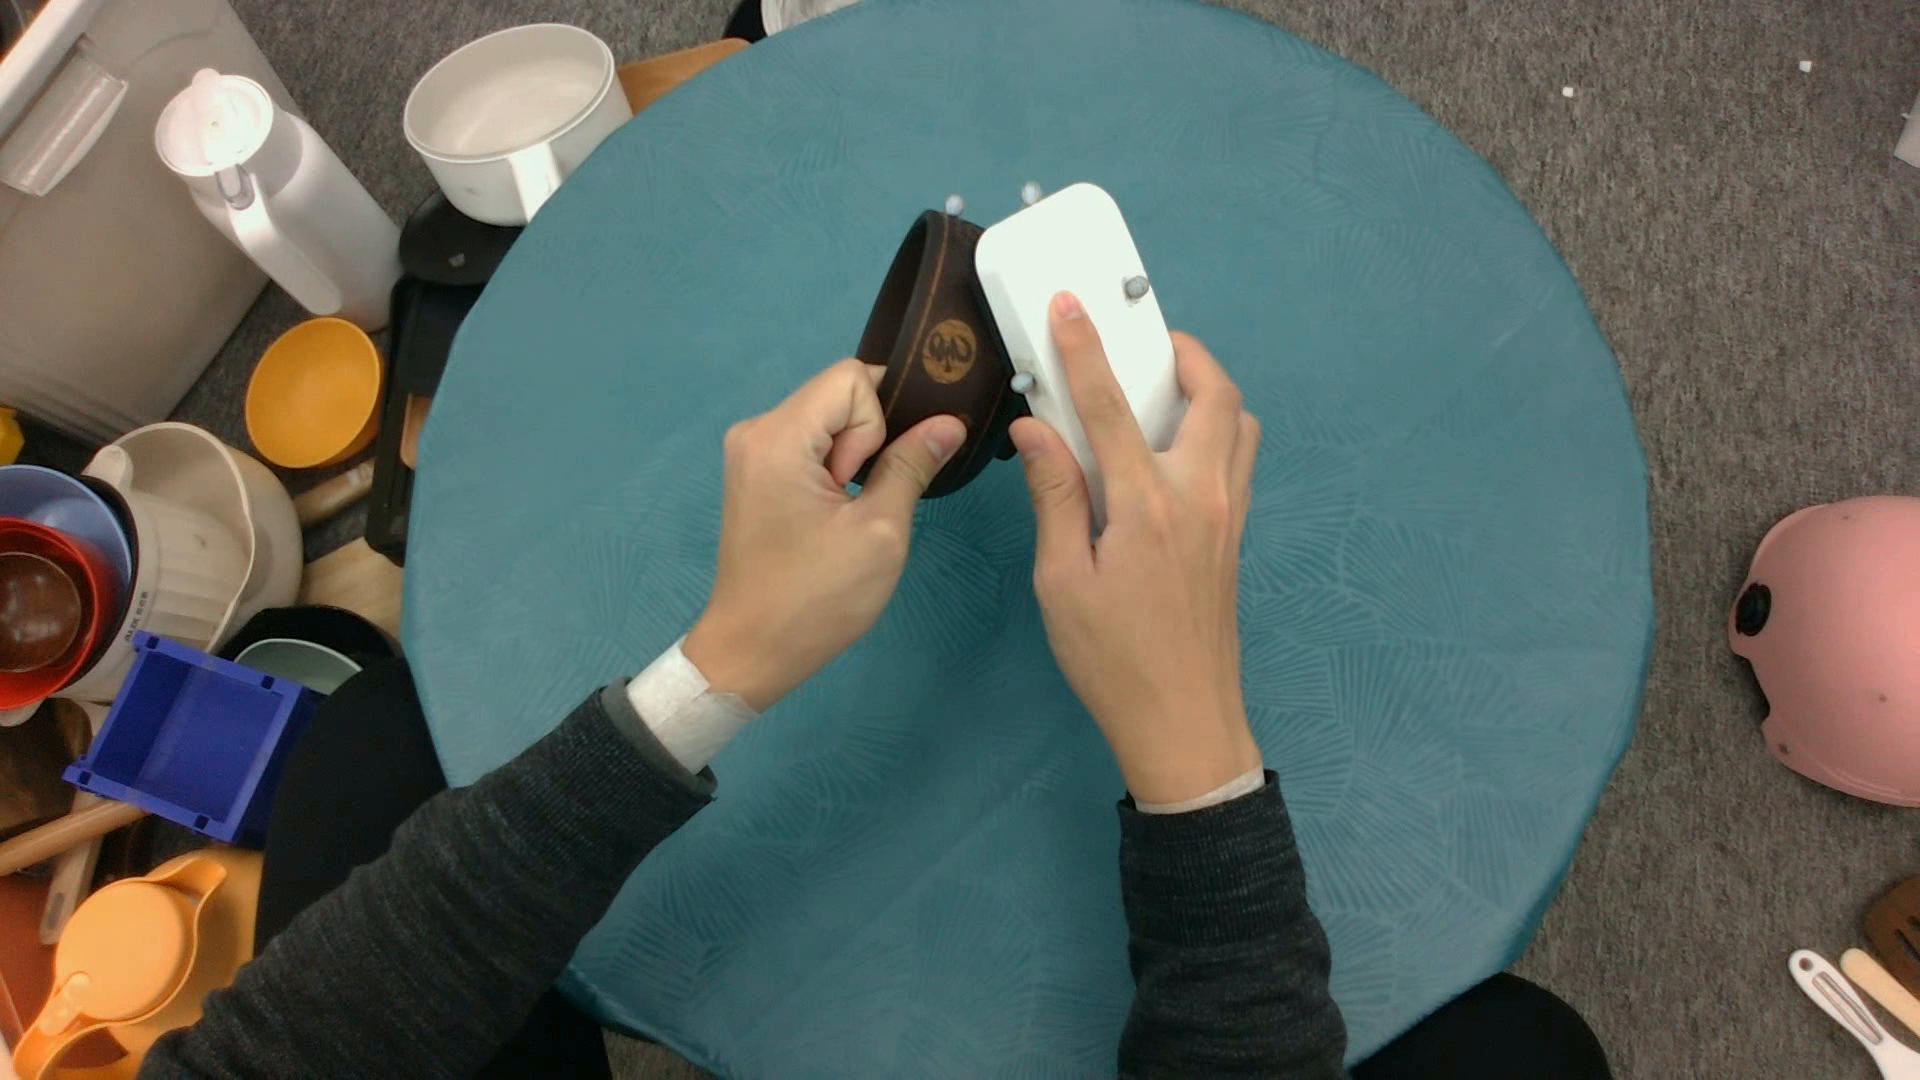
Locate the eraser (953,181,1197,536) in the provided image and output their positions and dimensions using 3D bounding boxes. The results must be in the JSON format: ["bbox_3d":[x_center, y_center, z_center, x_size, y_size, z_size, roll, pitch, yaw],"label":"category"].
[{"bbox_3d":[0.045,-0.067,0.525,0.063,0.034,0.131,-33,109,-27],"label":"eraser"}]

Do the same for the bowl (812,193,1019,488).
[{"bbox_3d":[-0.009,-0.076,0.570,0.070,0.117,0.118,18,71,-16],"label":"bowl"}]
